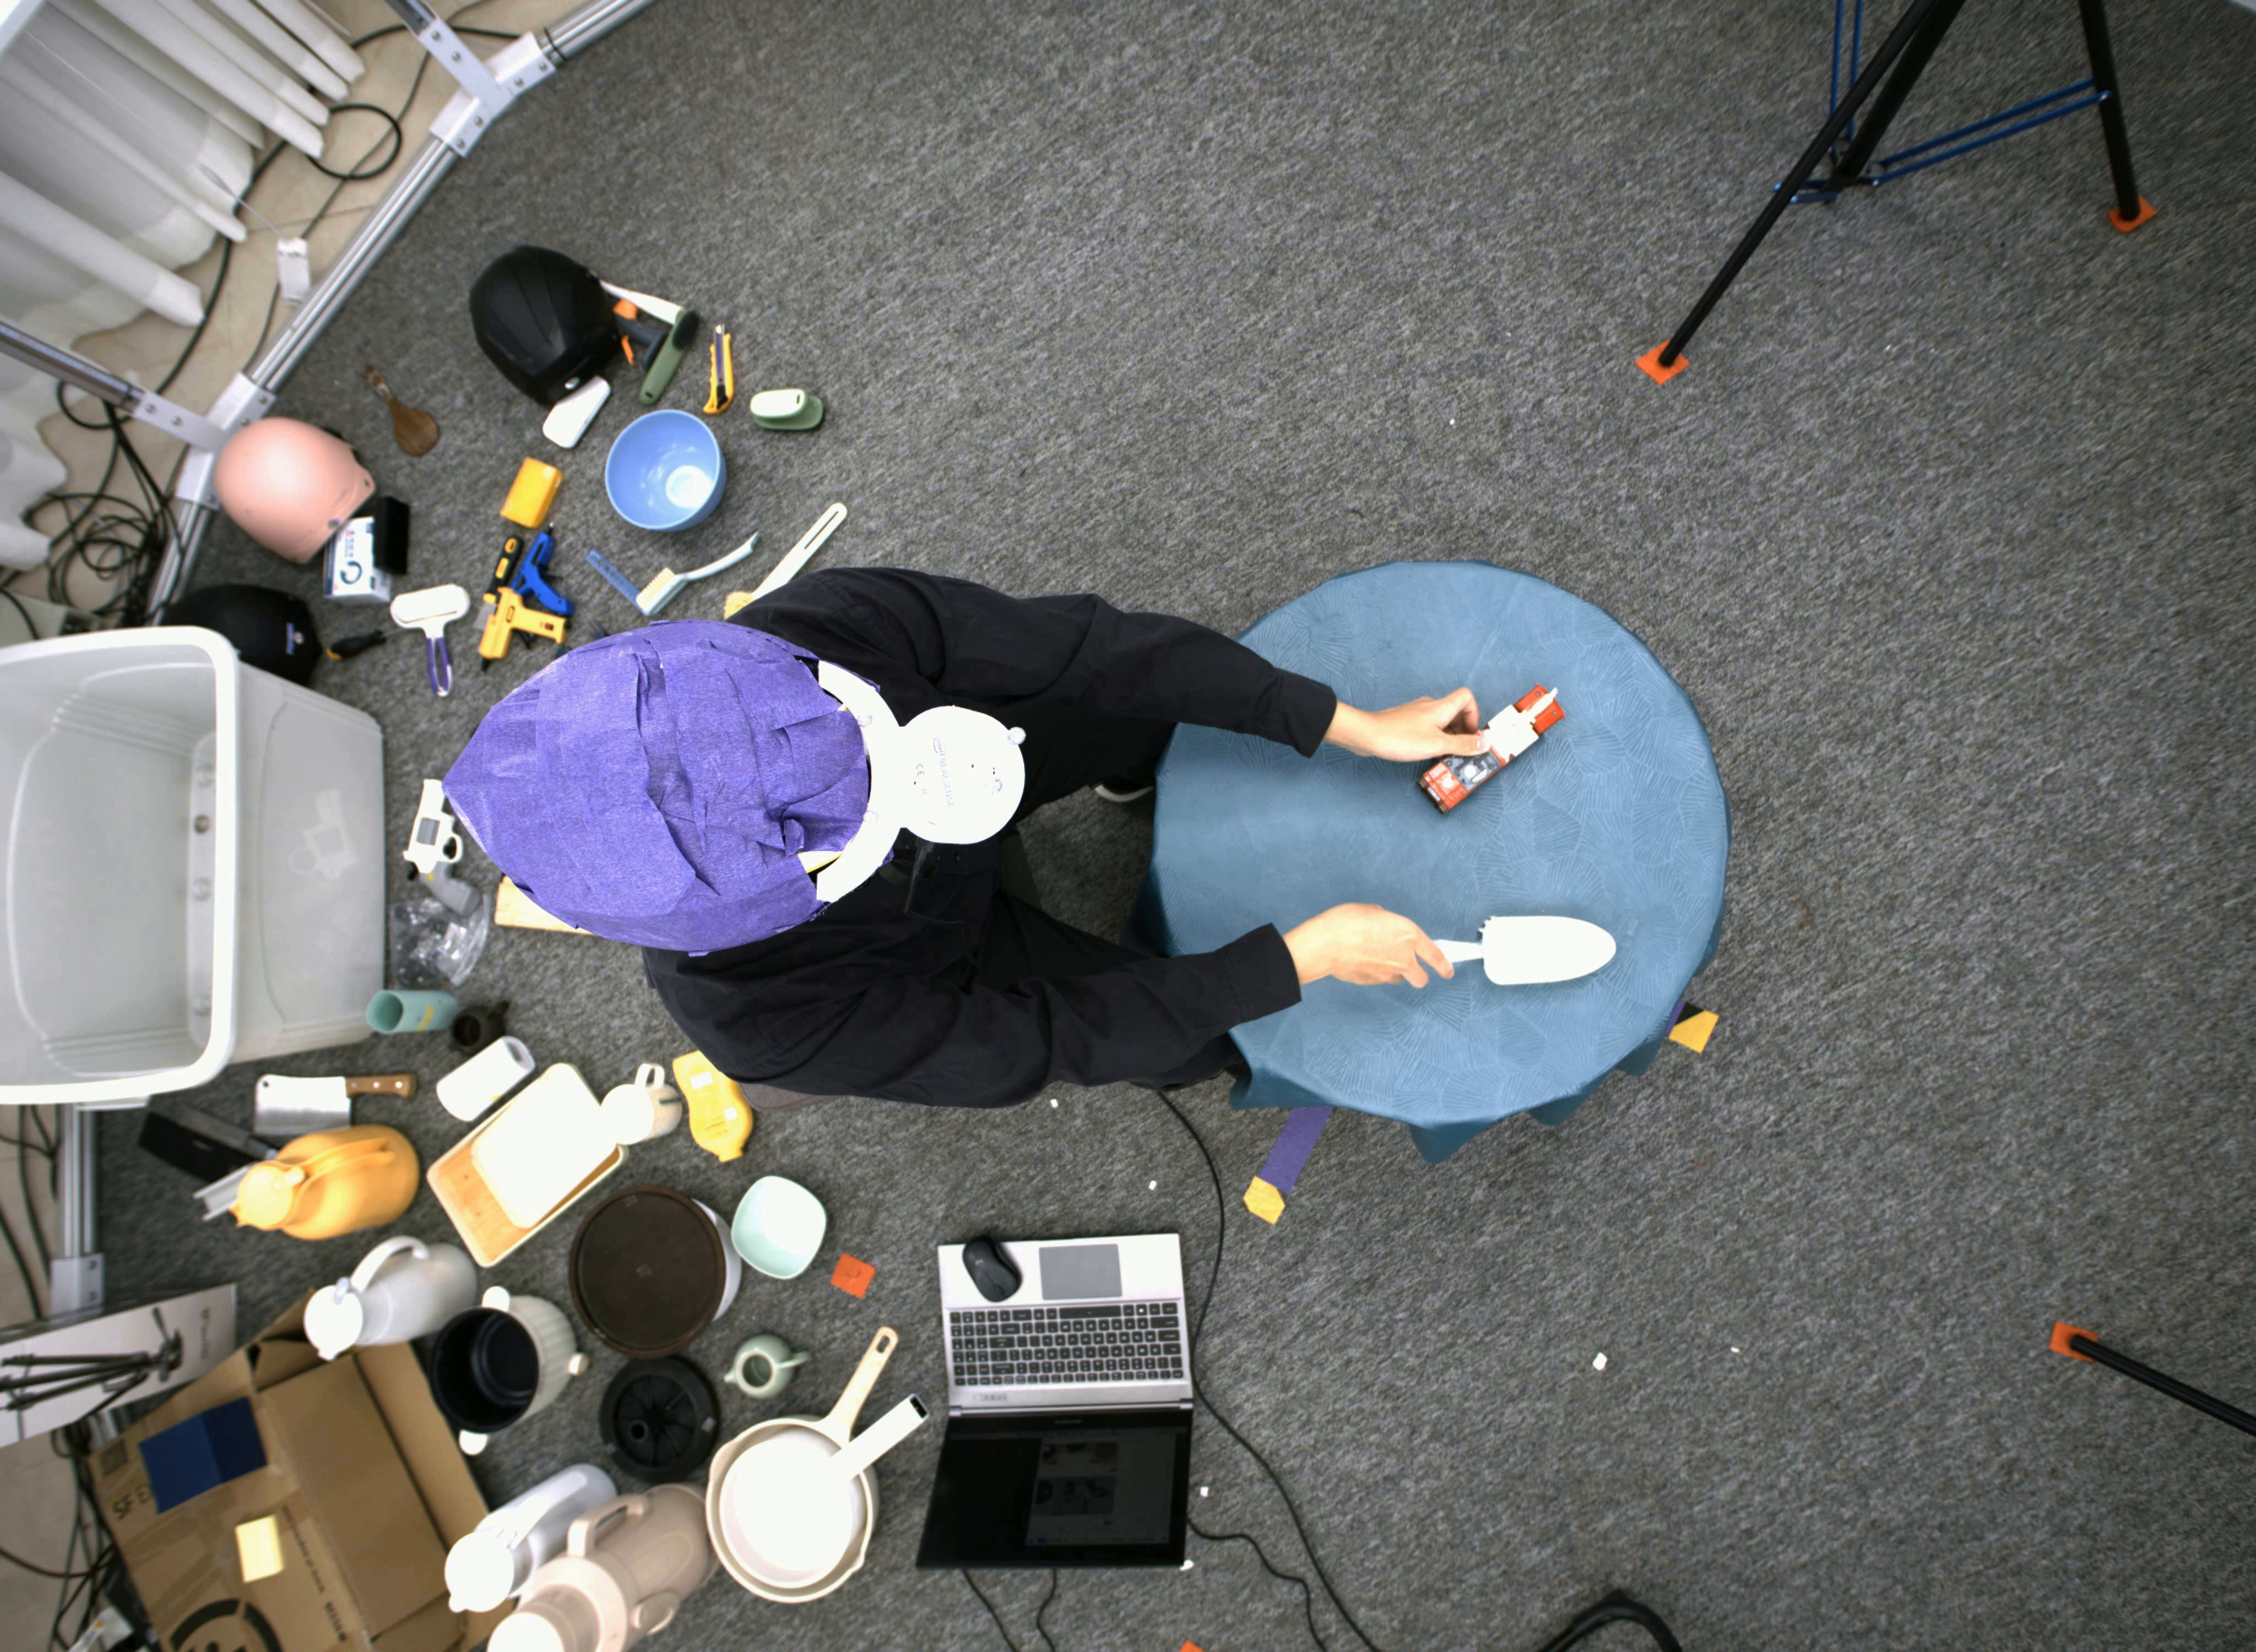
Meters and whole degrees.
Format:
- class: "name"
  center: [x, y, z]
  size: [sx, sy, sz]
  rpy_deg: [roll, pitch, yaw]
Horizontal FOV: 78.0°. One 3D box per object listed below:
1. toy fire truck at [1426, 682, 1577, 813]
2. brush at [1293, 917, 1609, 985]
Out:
- class: "toy fire truck"
  center: [0.386, -0.085, 1.414]
  size: [0.169, 0.070, 0.054]
  rpy_deg: [-40, 83, 6]
- class: "brush"
  center: [0.323, 0.123, 1.402]
  size: [0.325, 0.087, 0.081]
  rpy_deg: [-2, 49, -3]
